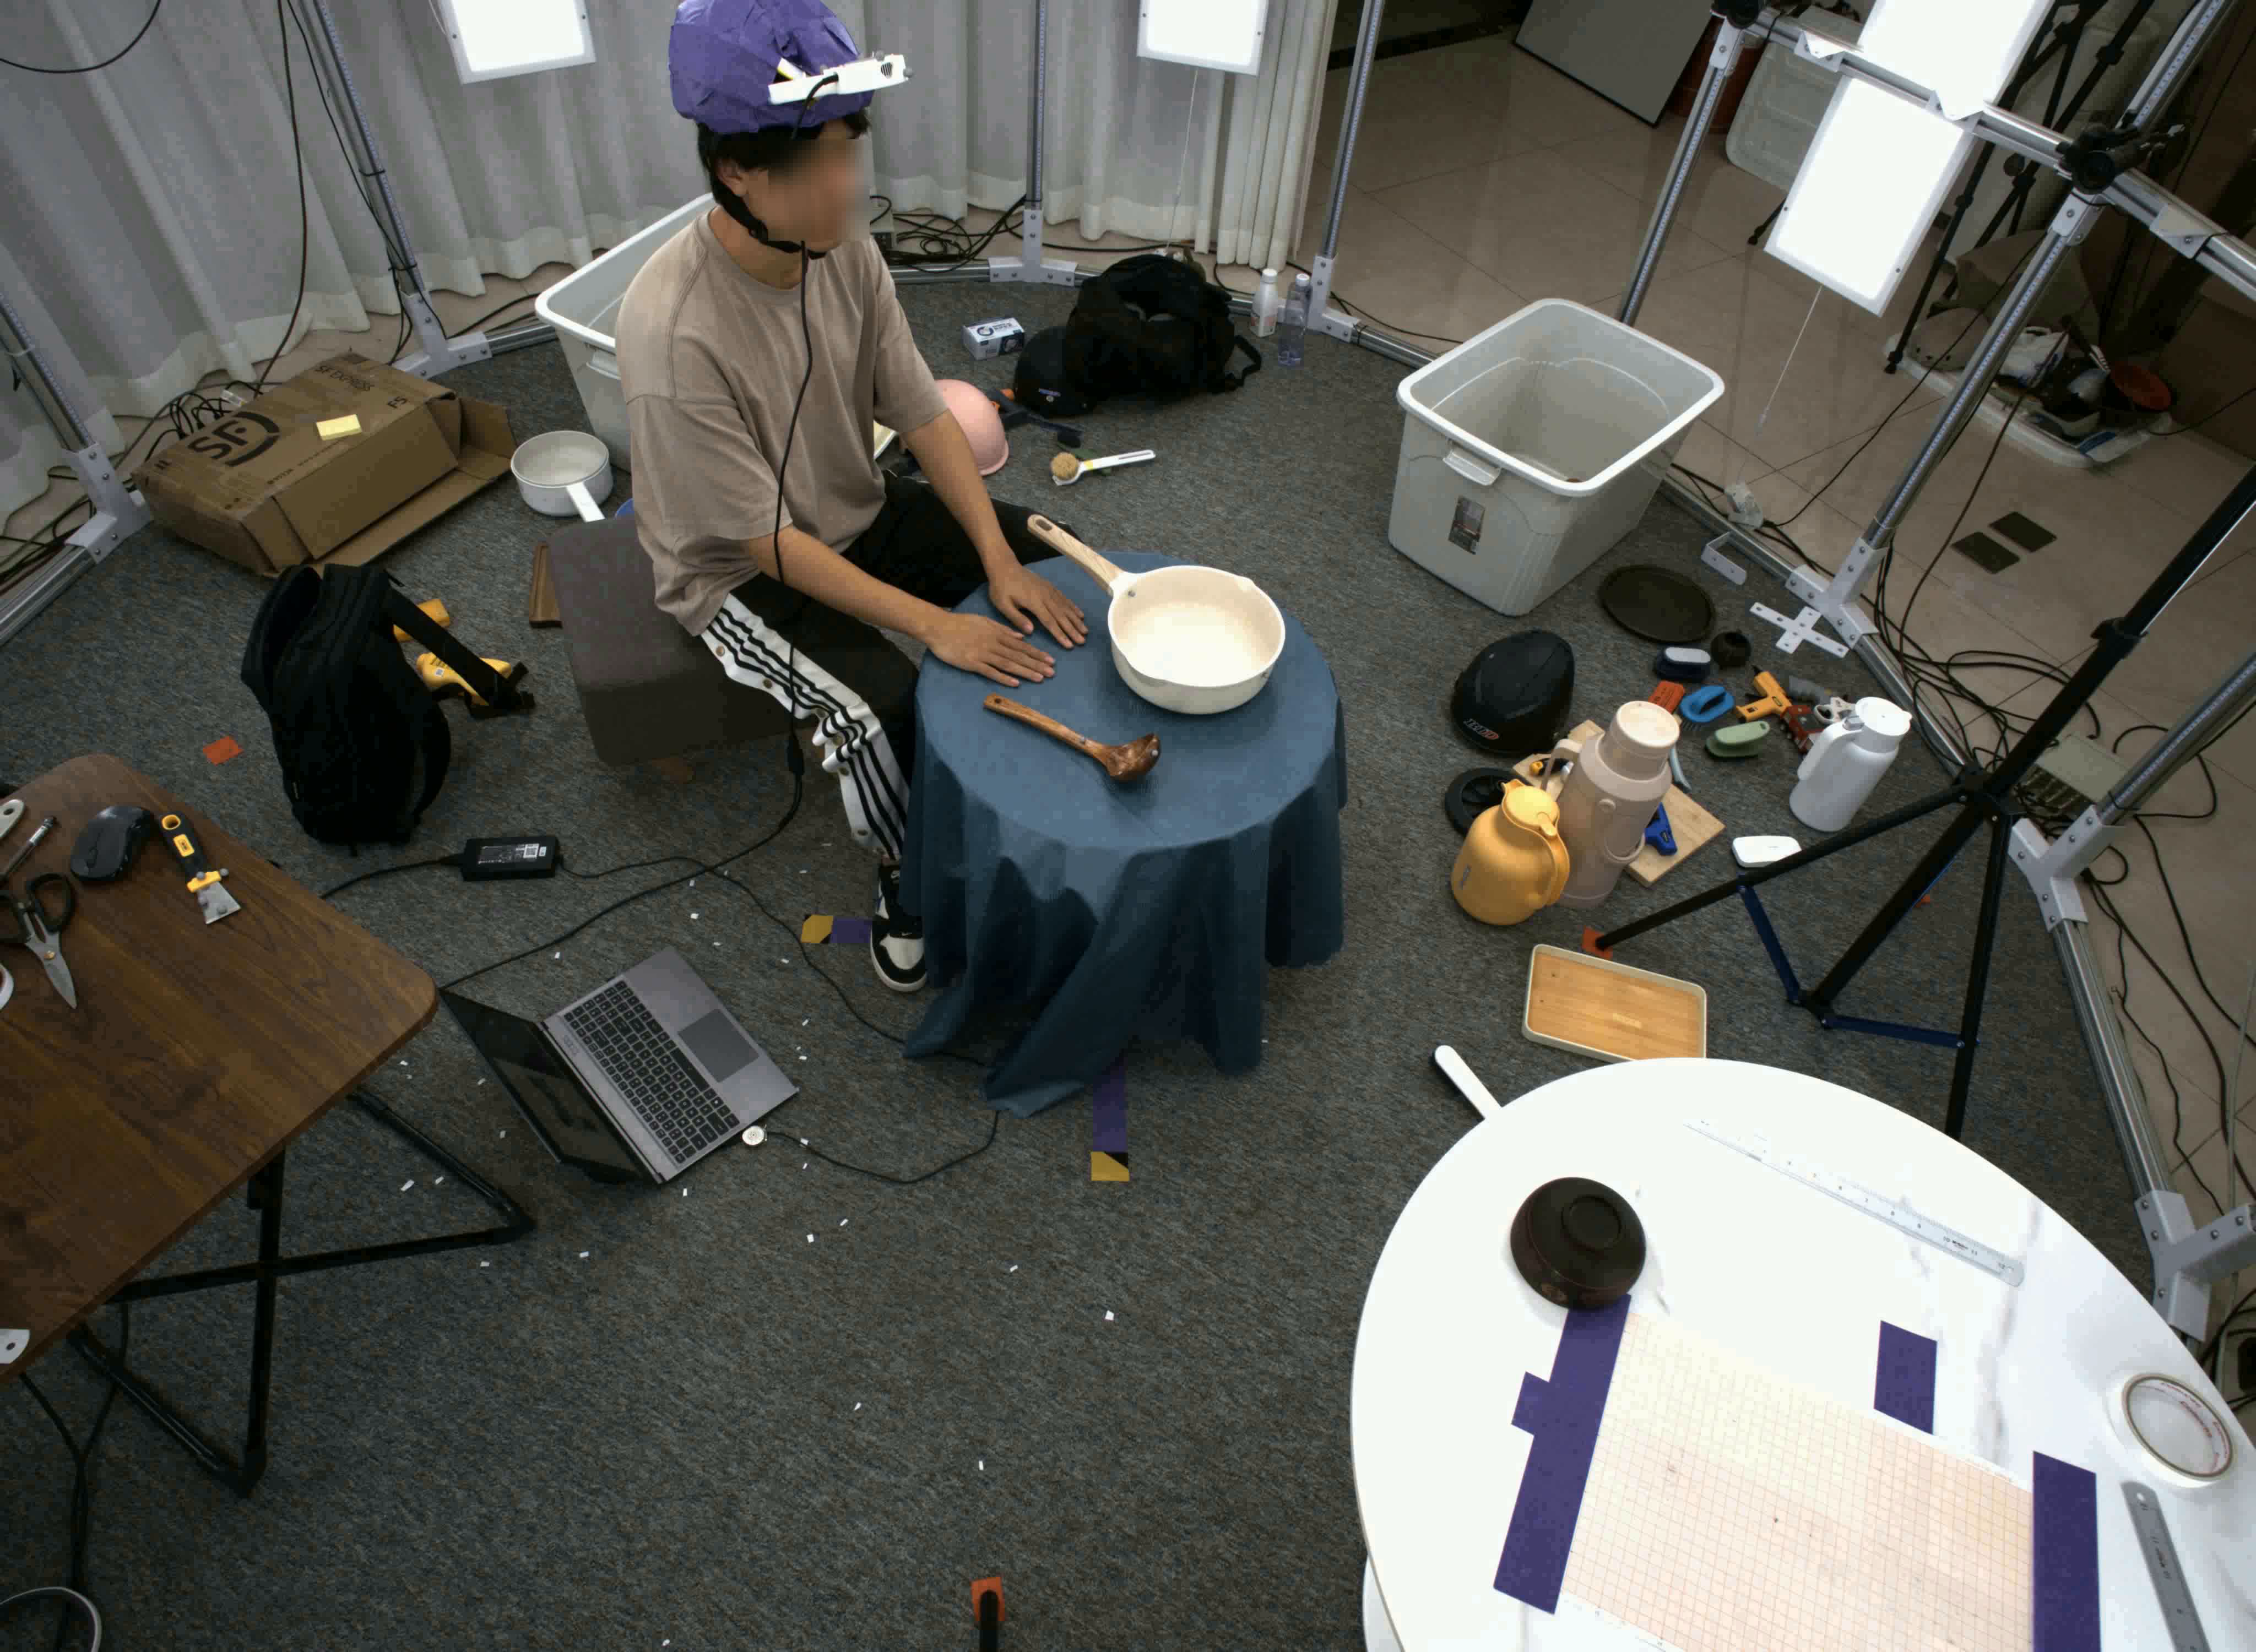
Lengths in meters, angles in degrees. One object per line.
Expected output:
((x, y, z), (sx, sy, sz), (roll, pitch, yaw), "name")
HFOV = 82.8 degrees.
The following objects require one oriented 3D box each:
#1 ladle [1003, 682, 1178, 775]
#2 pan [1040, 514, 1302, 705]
((-0.057, -0.147, 1.724), (0.276, 0.075, 0.083), (29, 55, 18), "ladle")
((0.046, -0.325, 1.878), (0.440, 0.099, 0.267), (32, 55, 22), "pan")
